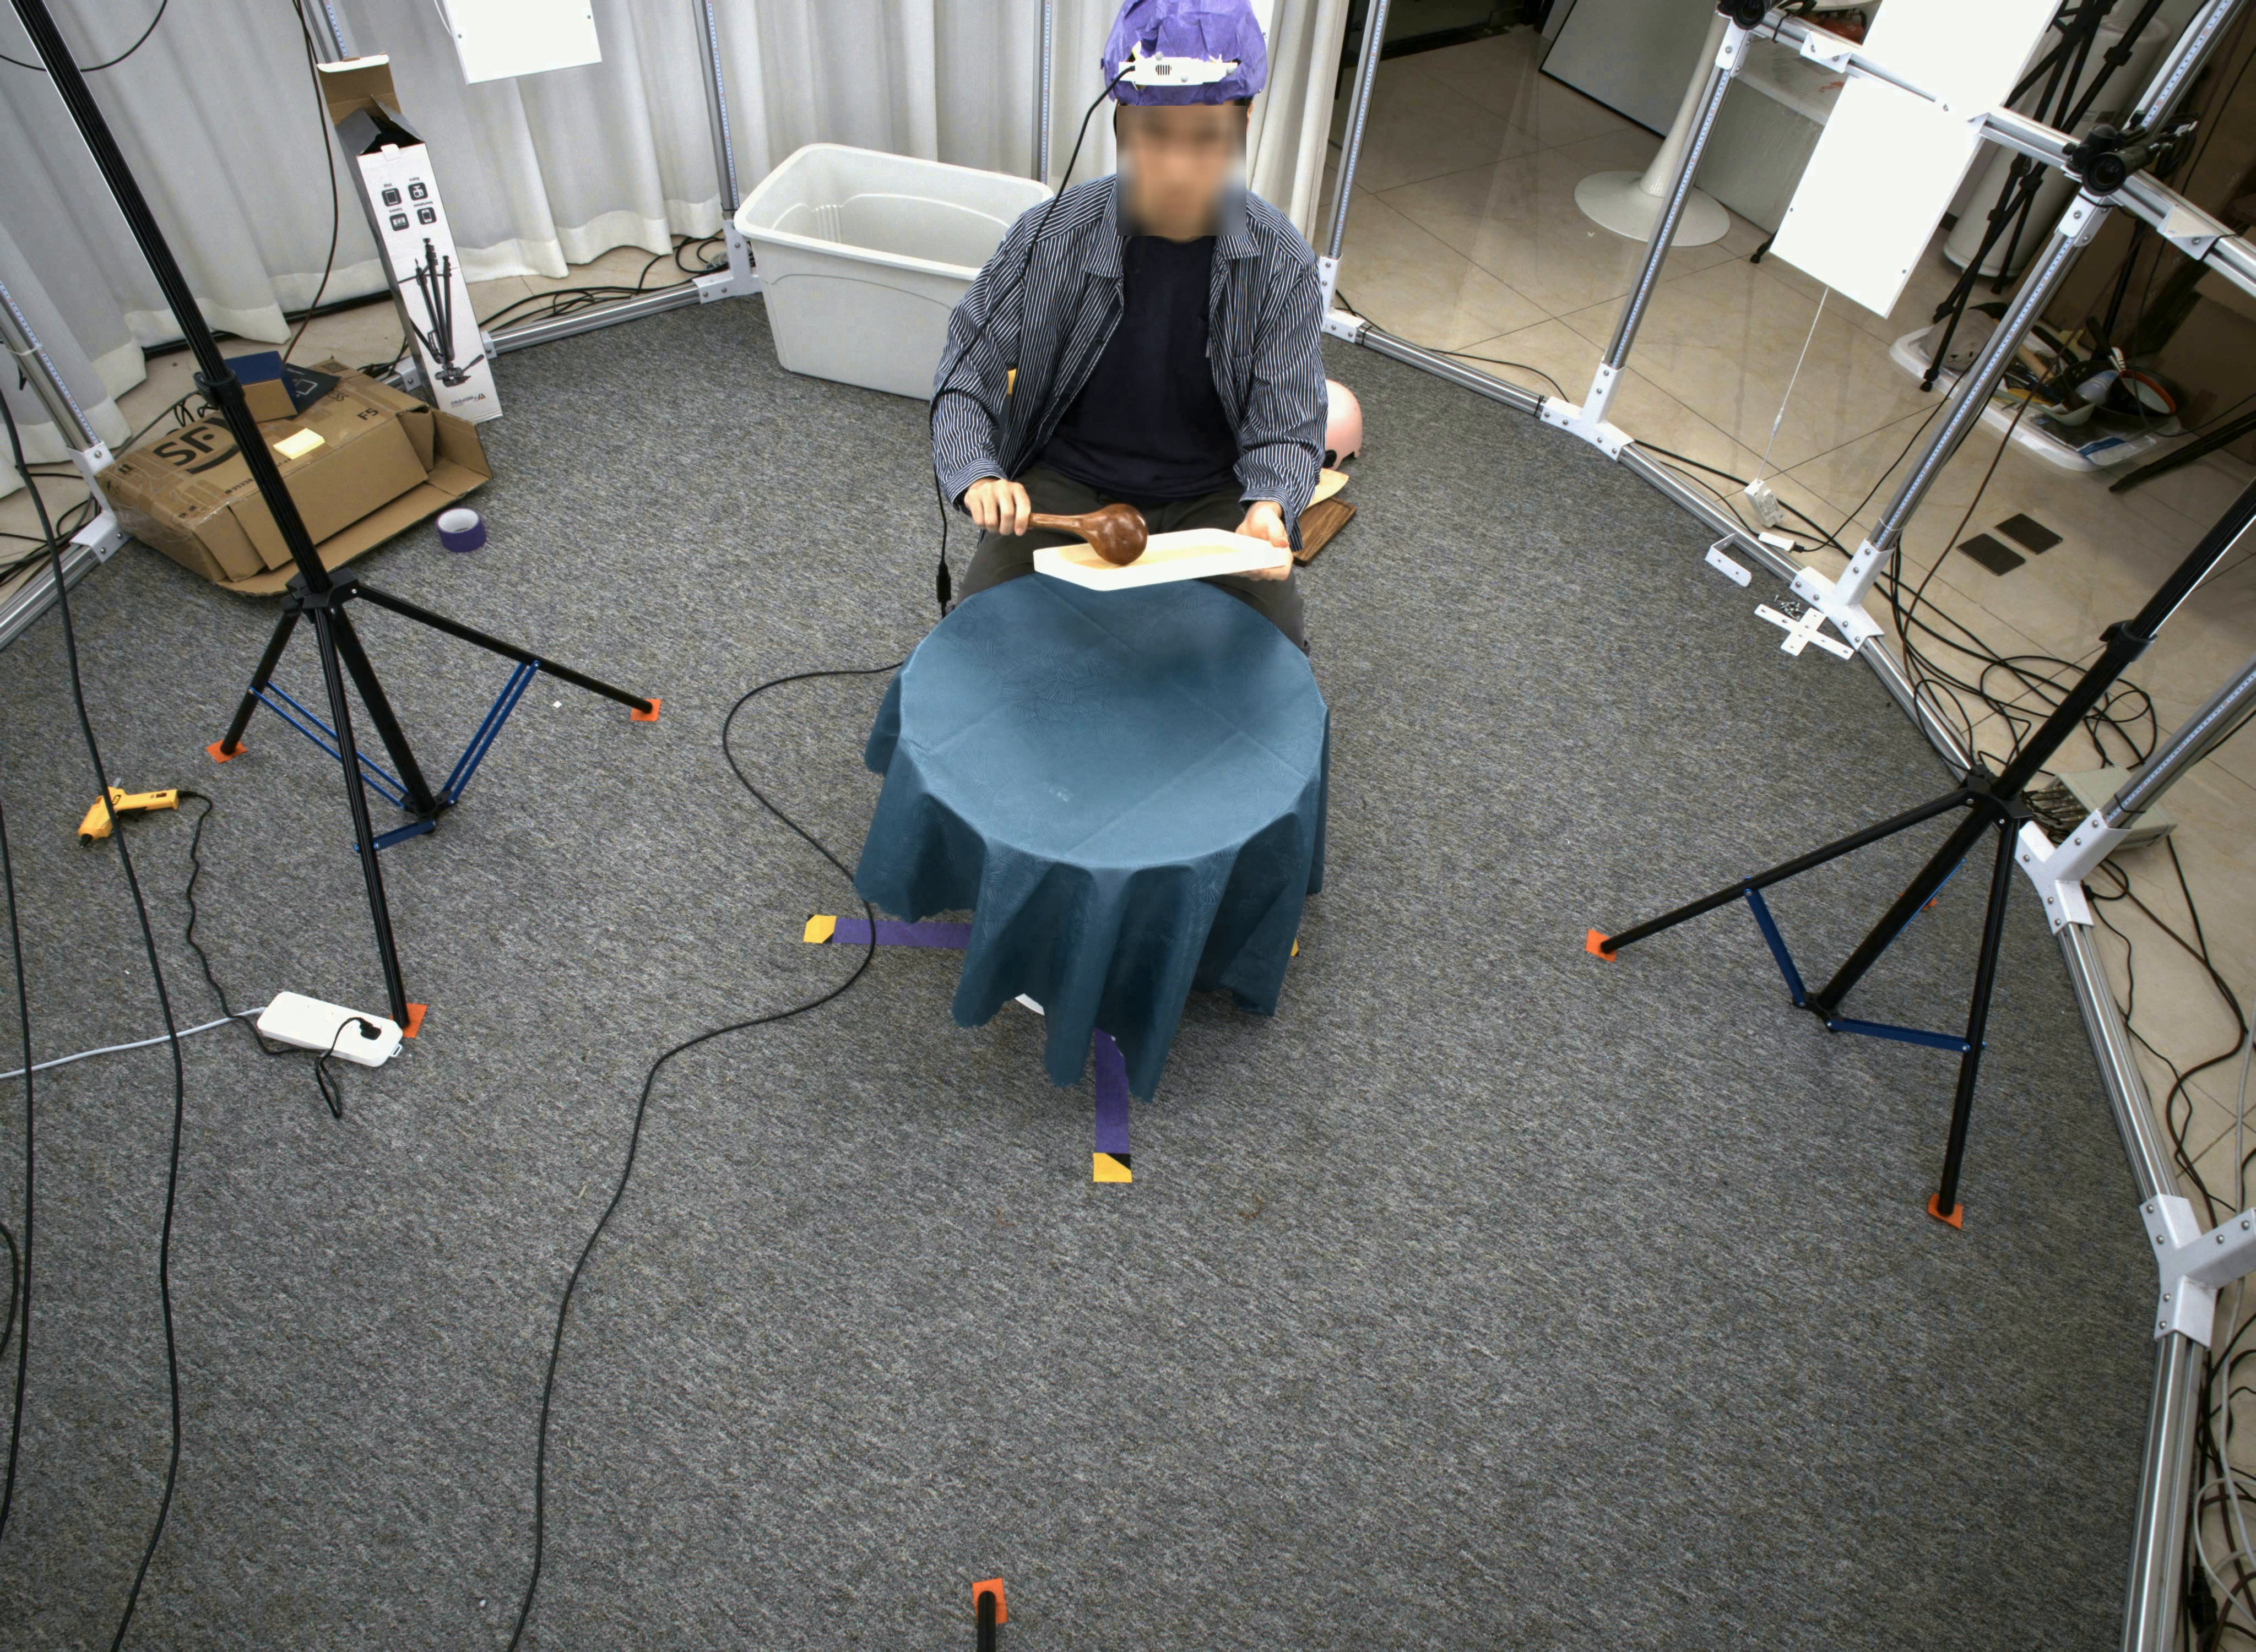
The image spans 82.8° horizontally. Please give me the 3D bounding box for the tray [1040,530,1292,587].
[{"bbox_3d":[0.051,-0.363,1.732,0.300,0.027,0.194,-13,24,-29],"label":"tray"}]

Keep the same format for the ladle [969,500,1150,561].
[{"bbox_3d":[-0.094,-0.413,1.775,0.276,0.075,0.082,12,82,36],"label":"ladle"}]
